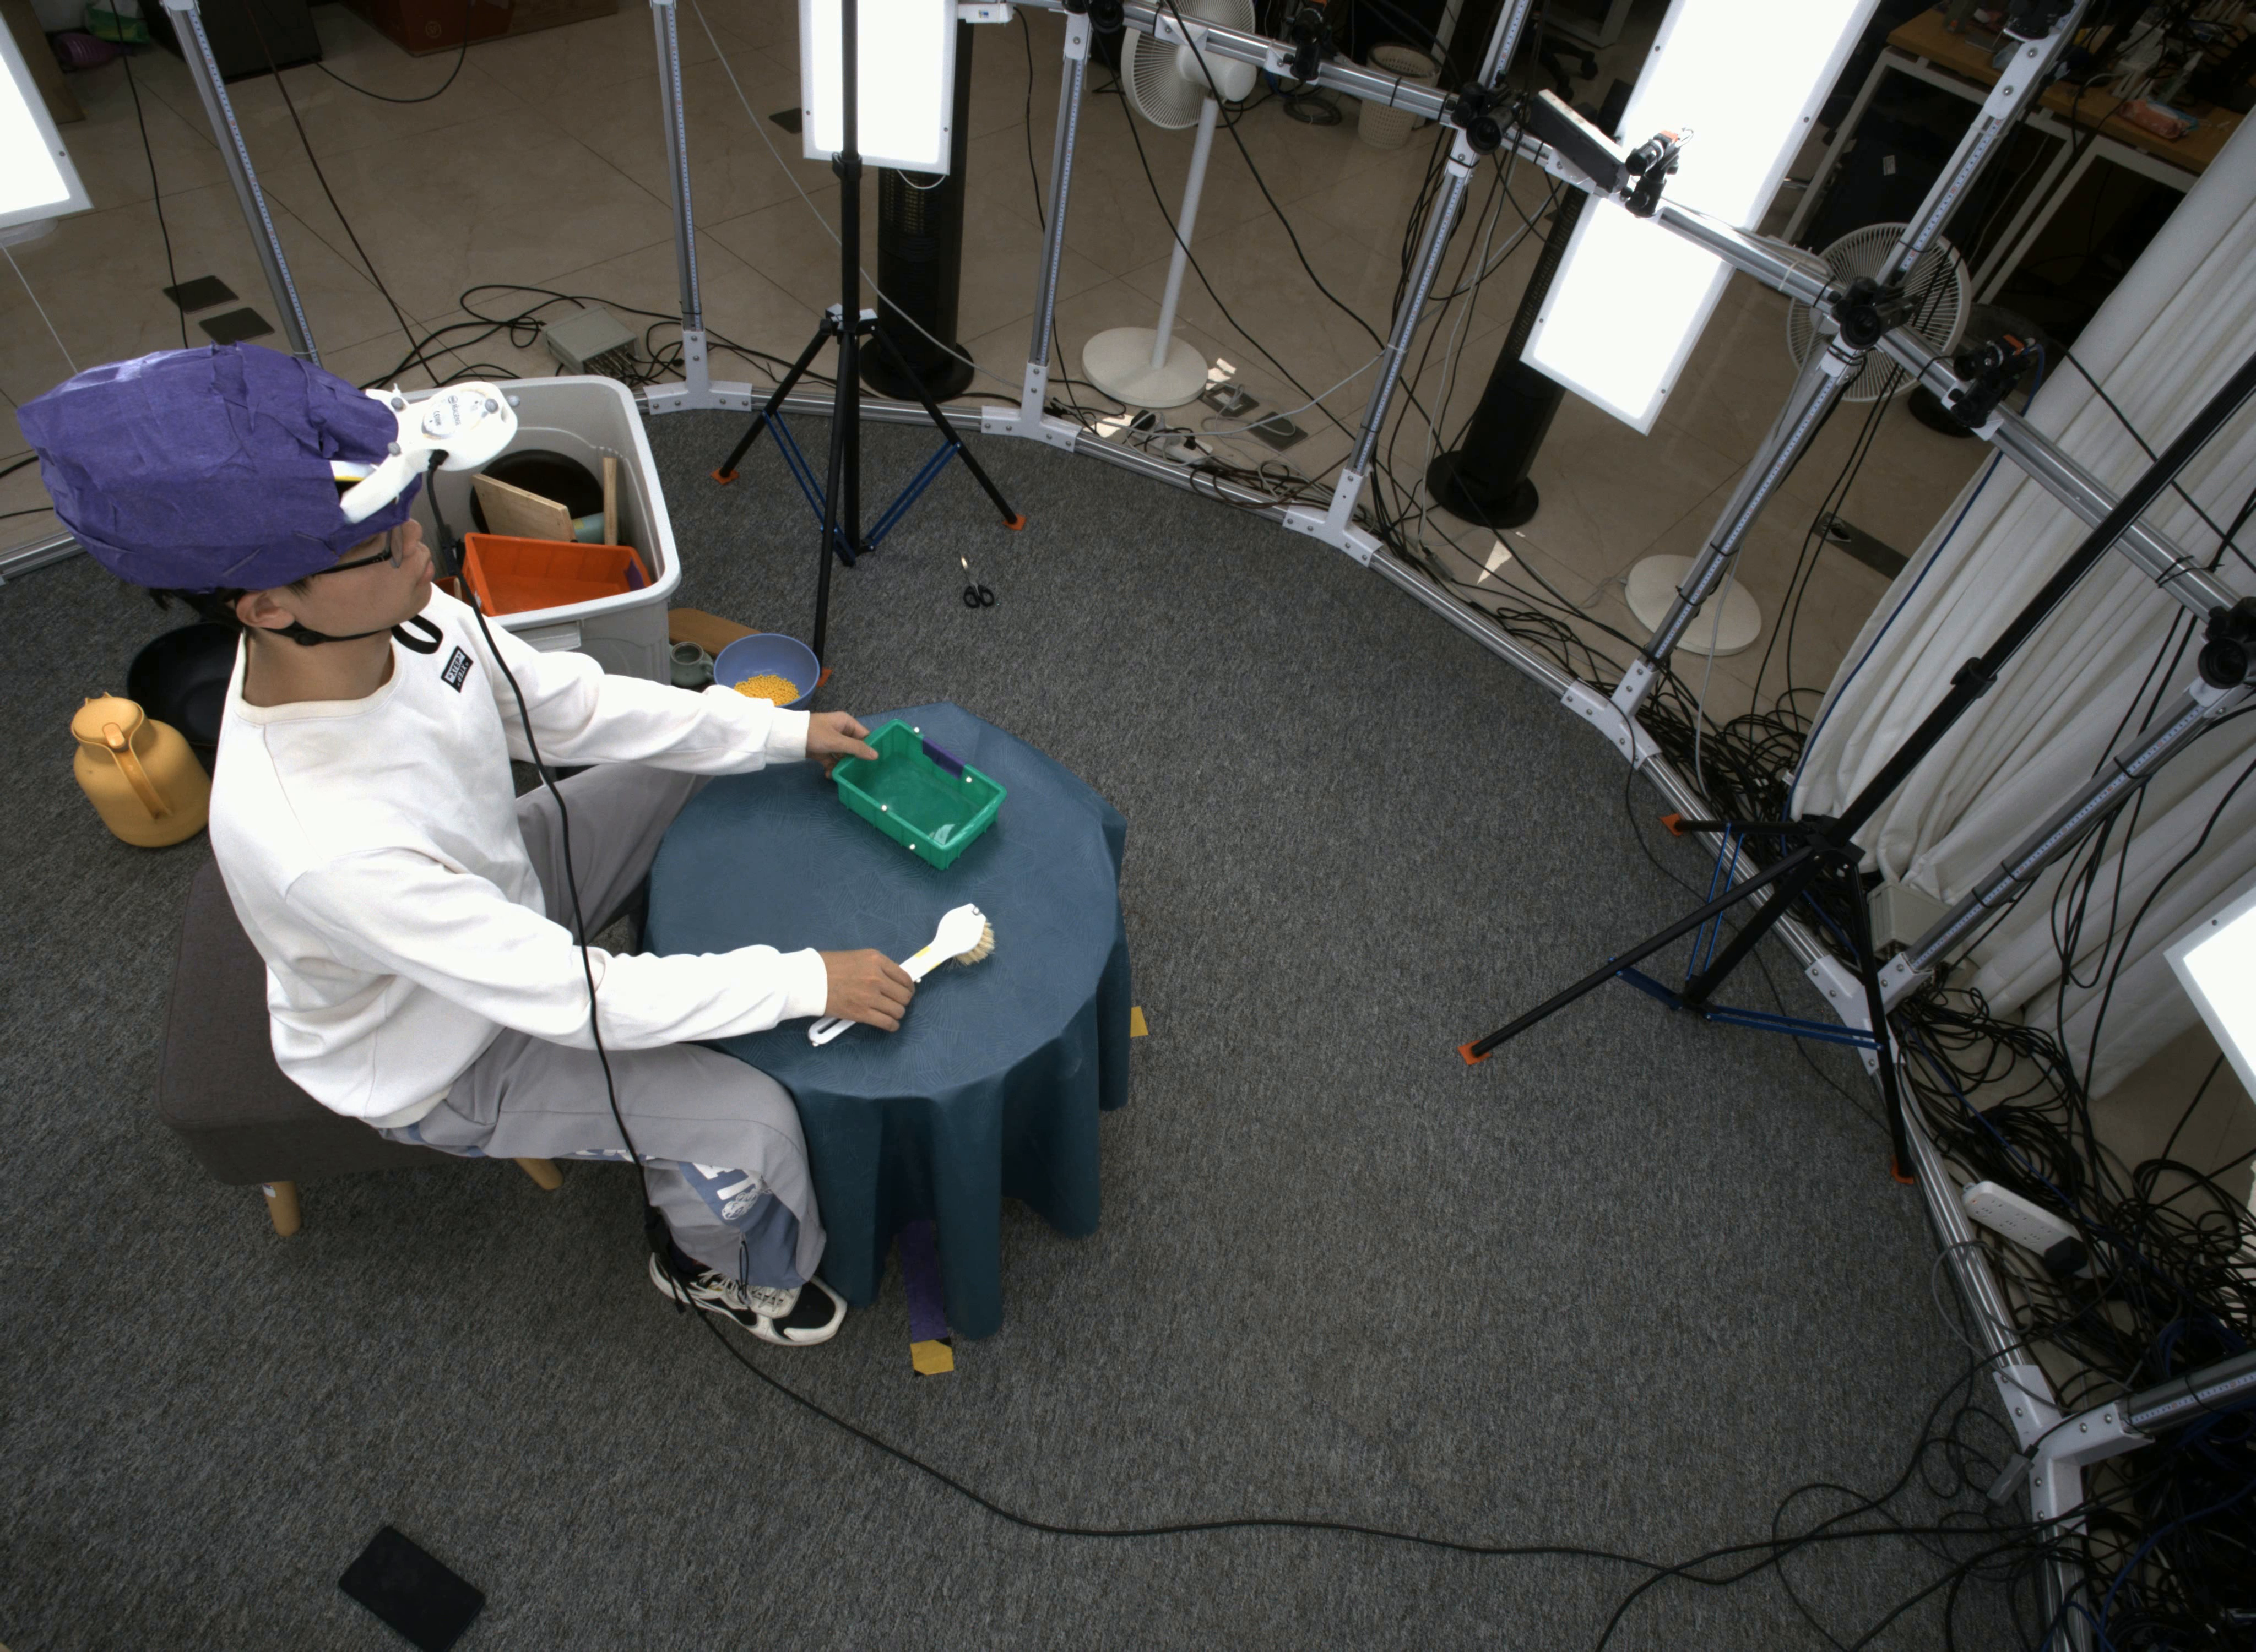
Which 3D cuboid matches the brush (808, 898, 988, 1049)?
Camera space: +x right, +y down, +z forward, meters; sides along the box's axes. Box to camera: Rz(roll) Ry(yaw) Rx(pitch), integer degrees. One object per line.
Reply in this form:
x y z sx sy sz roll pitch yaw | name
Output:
-0.283 0.190 1.615 0.266 0.058 0.066 -42 57 -18 | brush

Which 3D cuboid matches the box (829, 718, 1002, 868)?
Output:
-0.286 -0.042 1.759 0.206 0.067 0.138 31 53 14 | box
